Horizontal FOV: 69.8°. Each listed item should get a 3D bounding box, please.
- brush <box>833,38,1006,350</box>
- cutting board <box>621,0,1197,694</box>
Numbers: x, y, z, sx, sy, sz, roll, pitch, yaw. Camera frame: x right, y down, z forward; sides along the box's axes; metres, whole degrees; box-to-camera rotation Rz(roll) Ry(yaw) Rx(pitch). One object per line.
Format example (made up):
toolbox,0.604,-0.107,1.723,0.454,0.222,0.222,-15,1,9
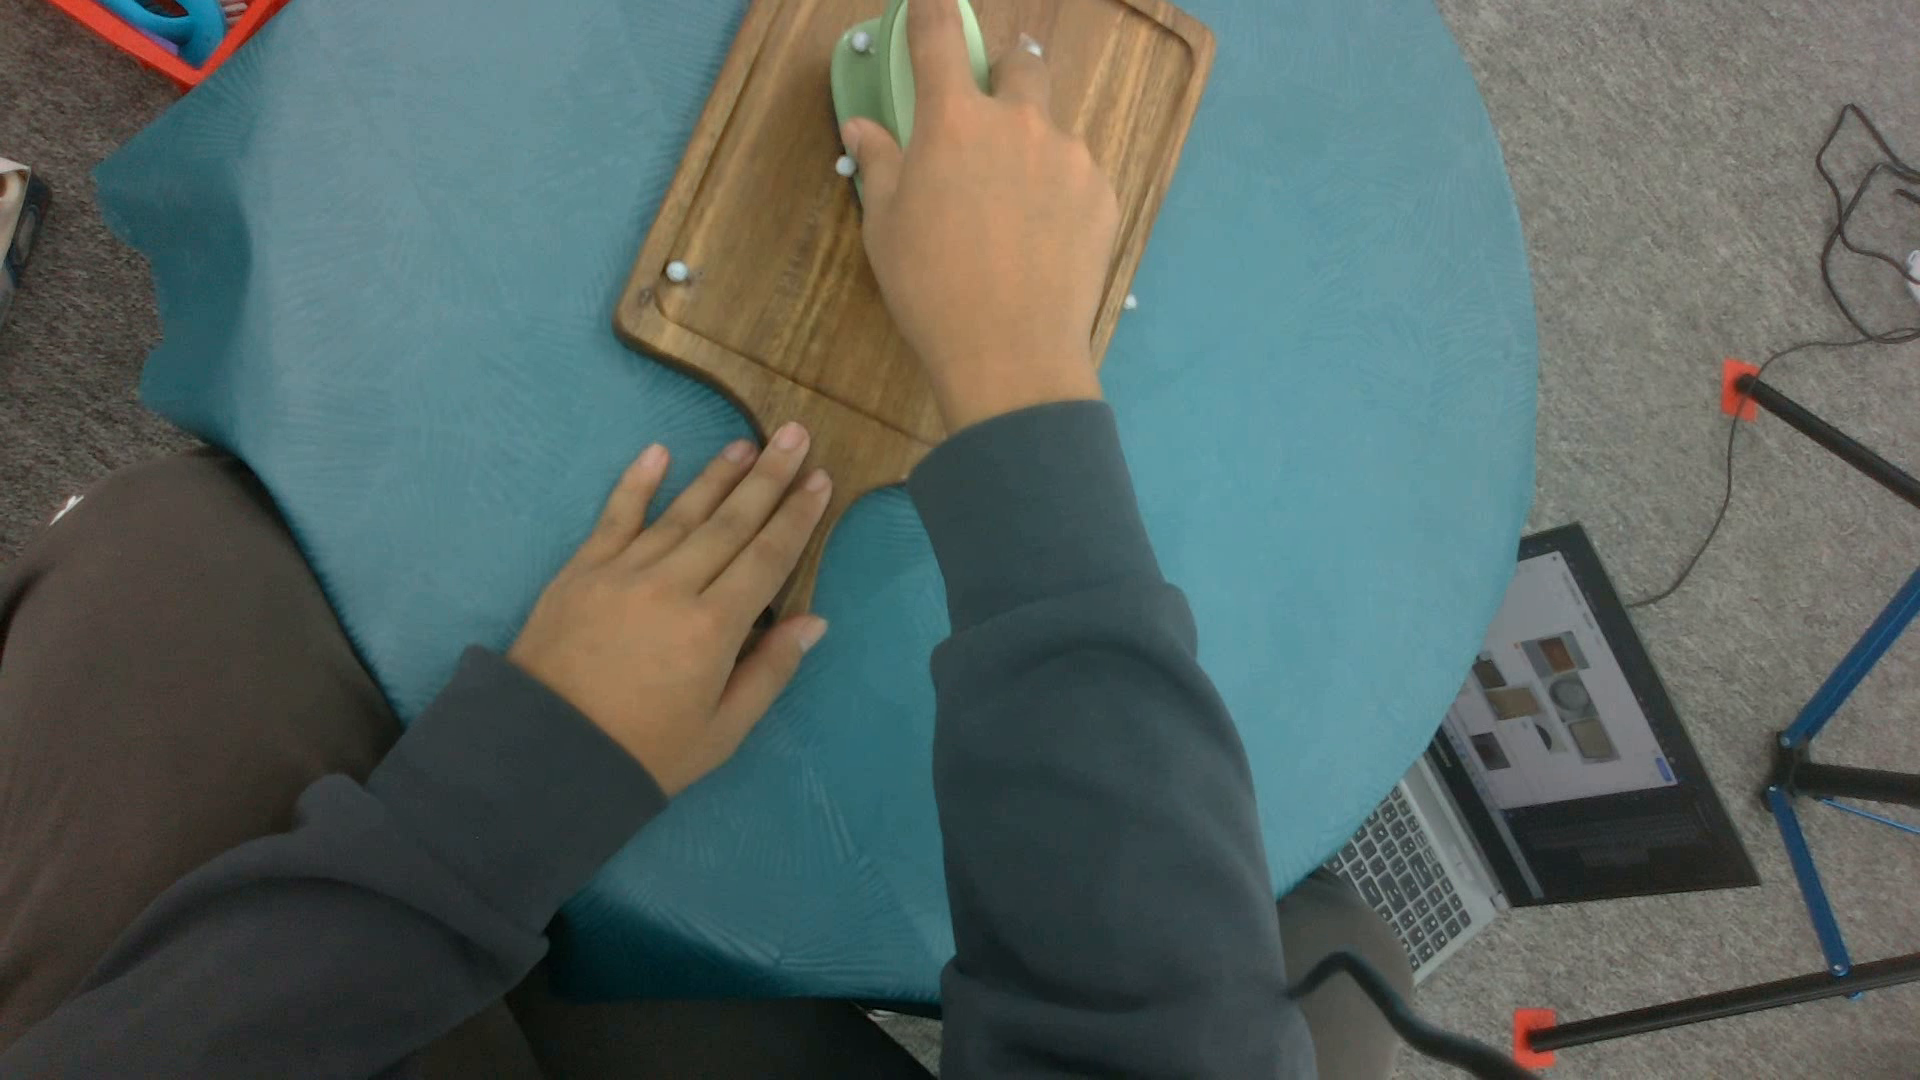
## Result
brush,-0.017,-0.142,0.576,0.060,0.076,0.122,-16,106,-17
cutting board,-0.029,-0.102,0.600,0.201,0.023,0.353,22,78,-16
